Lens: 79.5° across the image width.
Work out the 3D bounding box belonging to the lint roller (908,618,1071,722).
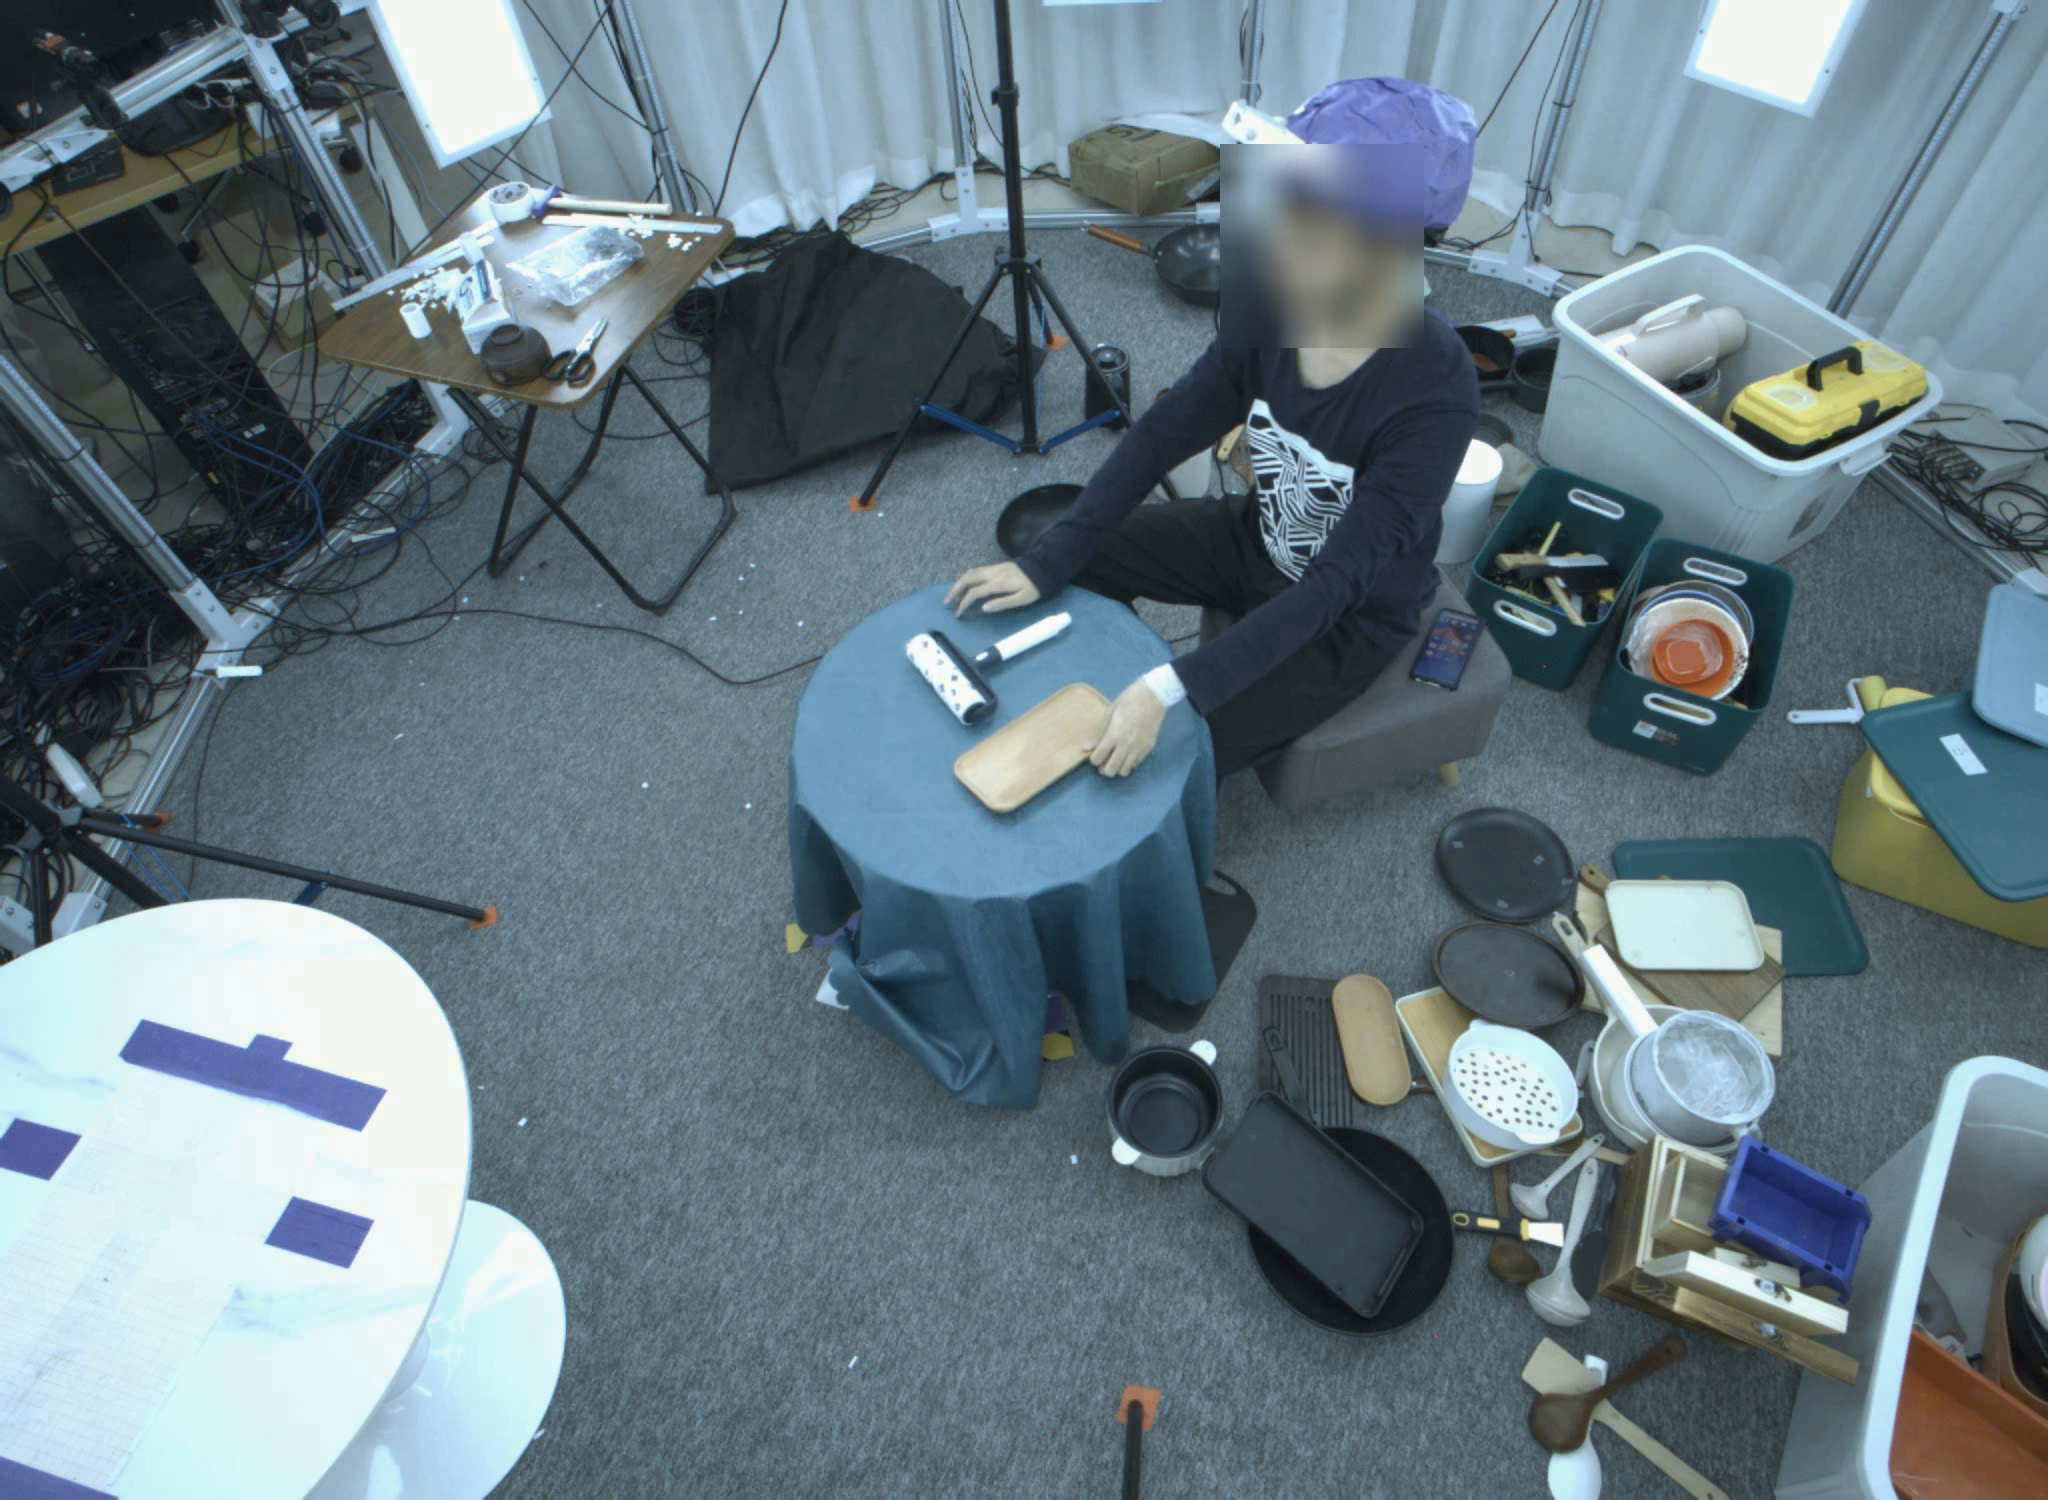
[{"bbox_3d":[-0.034,-0.154,1.882,0.249,0.051,0.173,-28,58,-21],"label":"lint roller"}]

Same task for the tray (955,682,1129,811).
[{"bbox_3d":[0.027,-0.006,1.783,0.253,0.023,0.128,-32,57,-21],"label":"tray"}]
